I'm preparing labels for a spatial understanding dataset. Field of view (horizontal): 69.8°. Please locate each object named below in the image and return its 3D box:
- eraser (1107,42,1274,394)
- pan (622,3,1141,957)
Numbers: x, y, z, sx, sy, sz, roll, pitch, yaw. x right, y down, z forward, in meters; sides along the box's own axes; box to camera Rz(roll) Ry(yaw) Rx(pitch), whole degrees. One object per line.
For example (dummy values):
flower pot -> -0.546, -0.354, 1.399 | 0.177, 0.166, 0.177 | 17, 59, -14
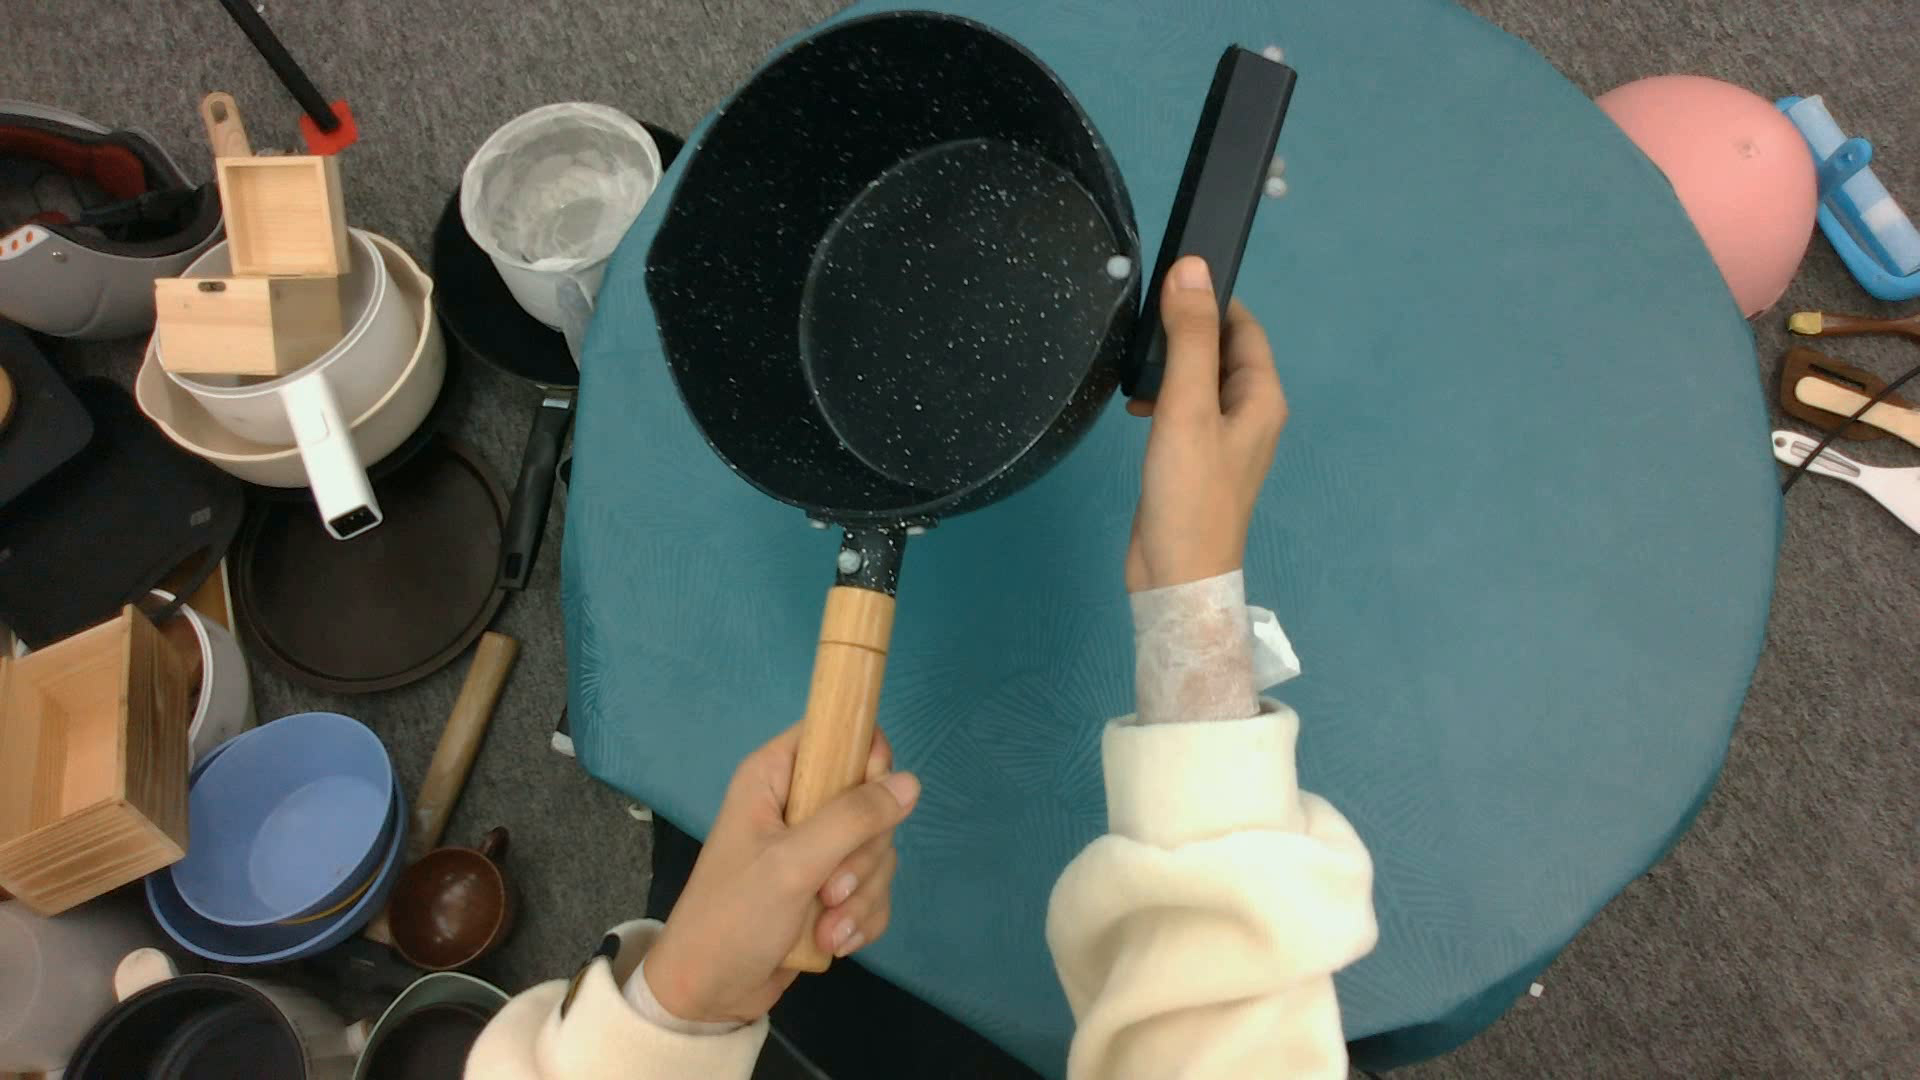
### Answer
eraser -> 0.088, -0.122, 0.524 | 0.030, 0.053, 0.126 | 17, 81, 3
pan -> -0.030, -0.023, 0.520 | 0.207, 0.108, 0.343 | 2, 85, 21
